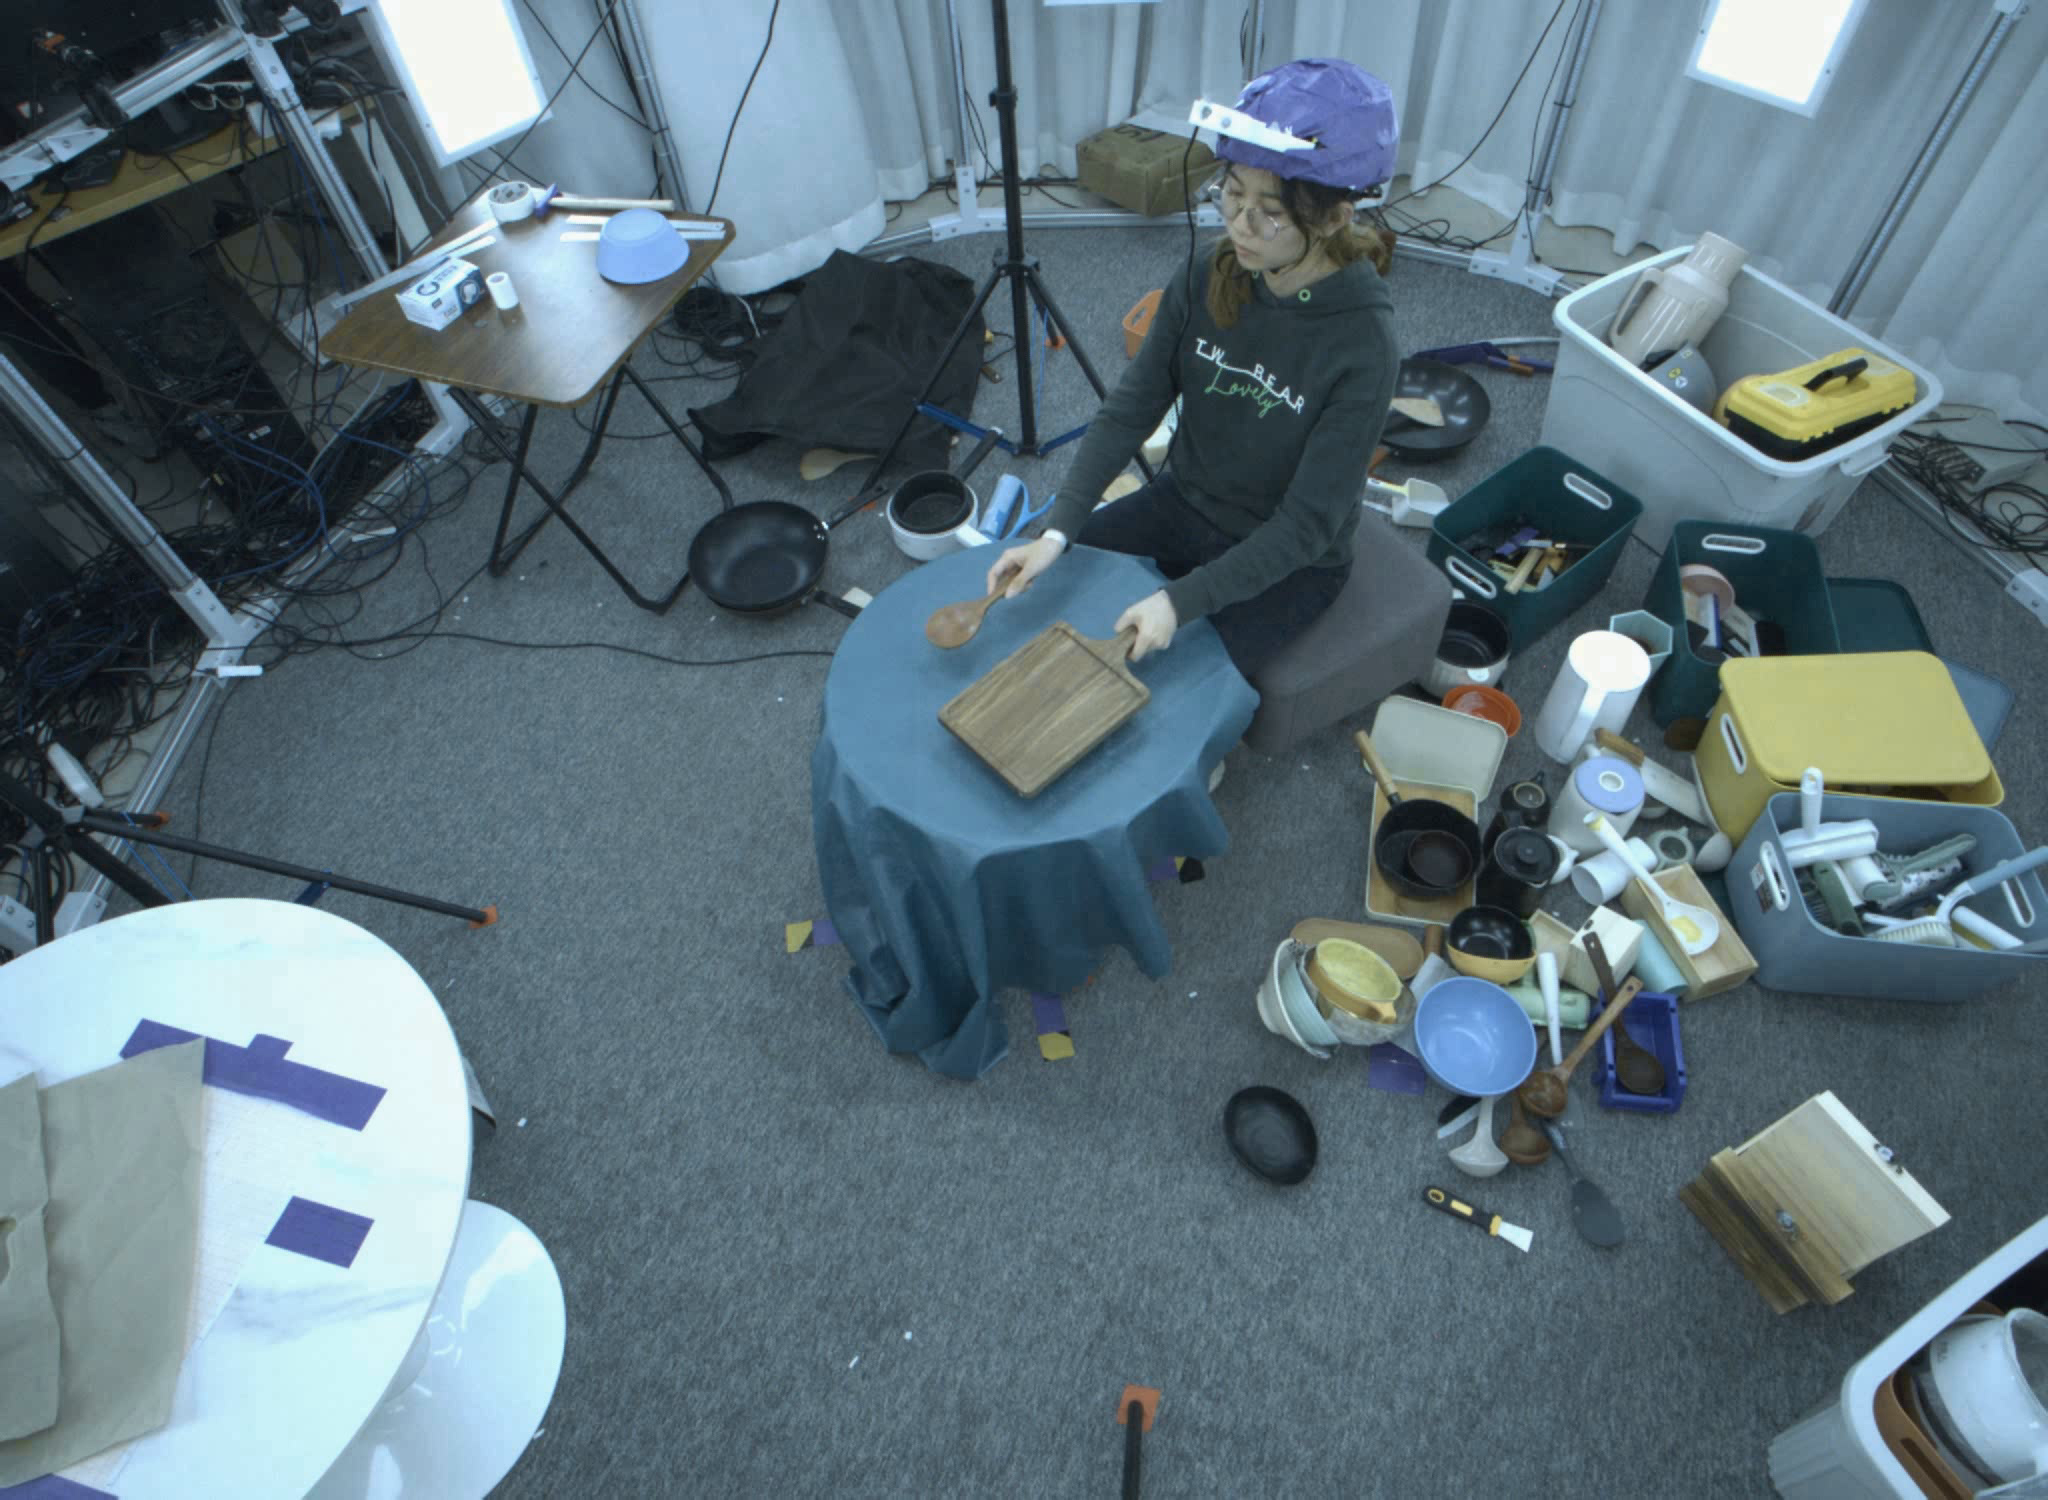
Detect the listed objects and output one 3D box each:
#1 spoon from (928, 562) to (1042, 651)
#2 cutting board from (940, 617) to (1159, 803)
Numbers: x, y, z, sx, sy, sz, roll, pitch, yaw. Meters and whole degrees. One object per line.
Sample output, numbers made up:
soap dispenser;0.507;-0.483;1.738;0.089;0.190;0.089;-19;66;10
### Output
spoon;-0.056;-0.220;1.872;0.217;0.017;0.074;-39;66;-18
cutting board;0.069;-0.087;1.792;0.354;0.023;0.197;-39;64;-21
